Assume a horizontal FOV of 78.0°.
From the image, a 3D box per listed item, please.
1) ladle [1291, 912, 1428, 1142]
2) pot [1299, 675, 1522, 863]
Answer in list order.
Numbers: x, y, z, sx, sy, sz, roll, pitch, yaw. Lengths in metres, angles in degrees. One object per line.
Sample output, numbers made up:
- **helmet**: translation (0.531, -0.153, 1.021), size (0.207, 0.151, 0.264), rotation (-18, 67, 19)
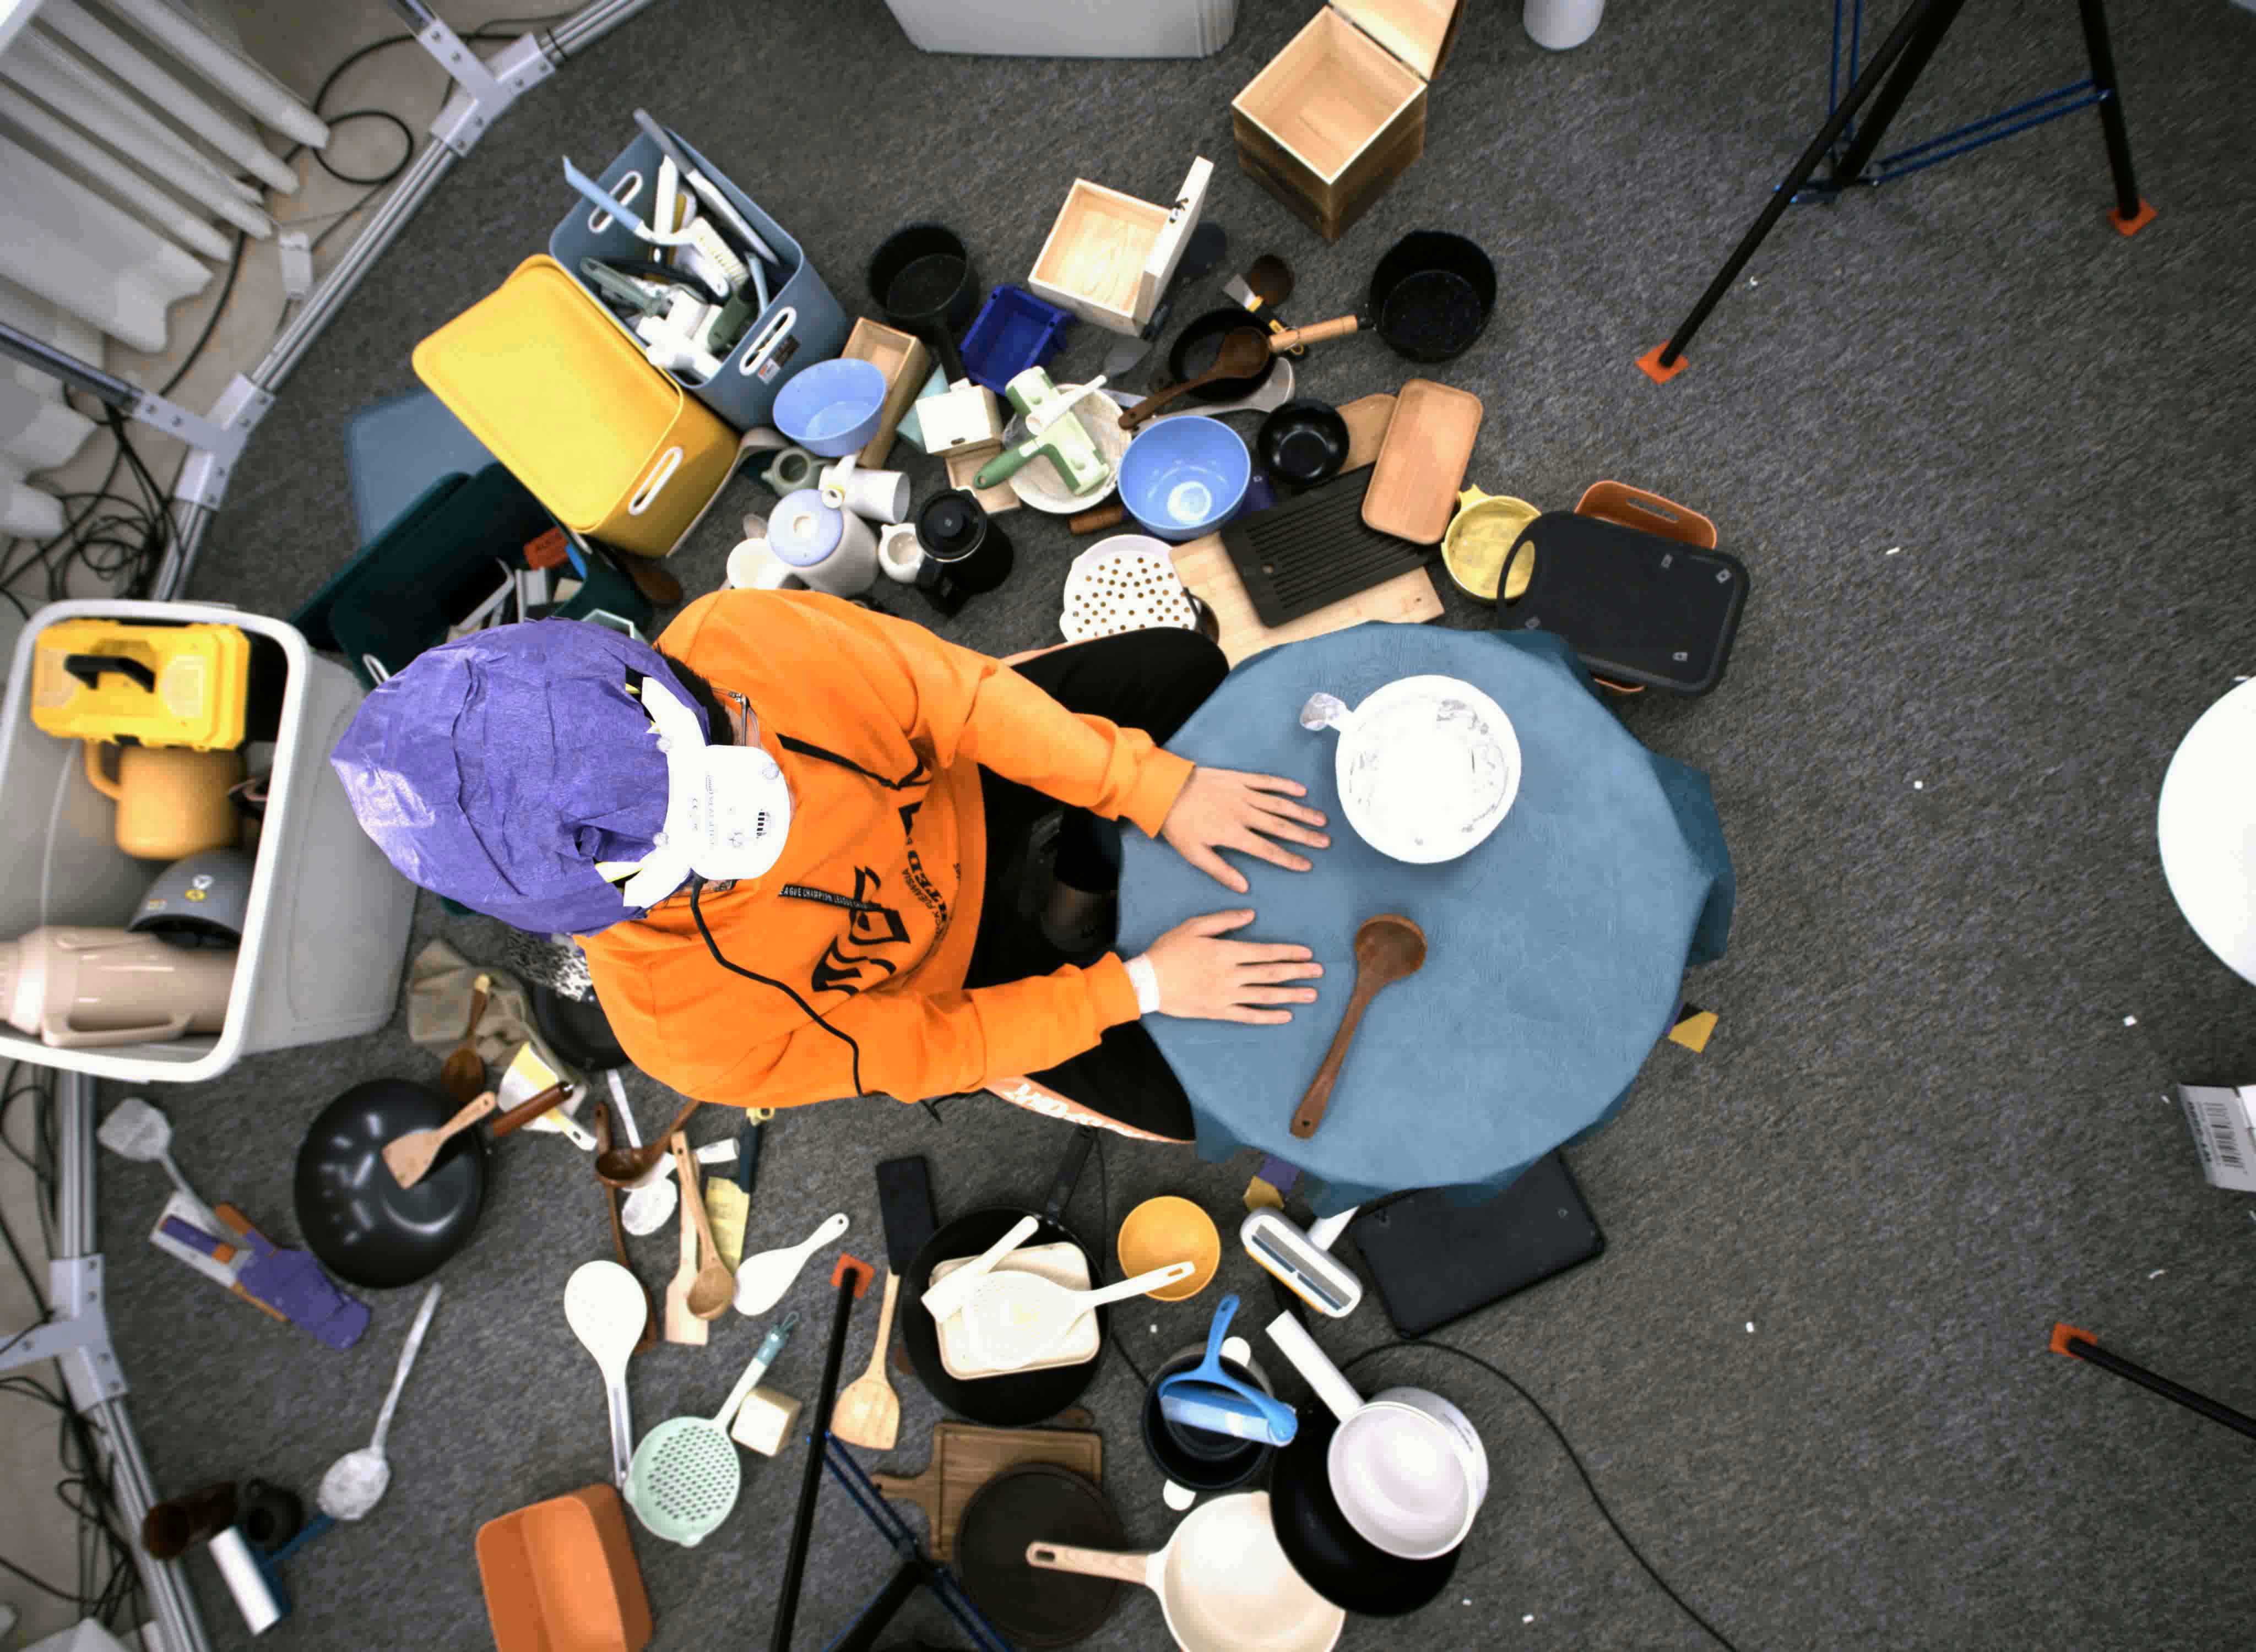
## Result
- **ladle**: translation (0.230, 0.209, 1.428), size (0.076, 0.065, 0.260), rotation (26, 91, 10)
- **pot**: translation (0.277, -0.068, 1.397), size (0.233, 0.137, 0.179), rotation (31, 91, 11)
